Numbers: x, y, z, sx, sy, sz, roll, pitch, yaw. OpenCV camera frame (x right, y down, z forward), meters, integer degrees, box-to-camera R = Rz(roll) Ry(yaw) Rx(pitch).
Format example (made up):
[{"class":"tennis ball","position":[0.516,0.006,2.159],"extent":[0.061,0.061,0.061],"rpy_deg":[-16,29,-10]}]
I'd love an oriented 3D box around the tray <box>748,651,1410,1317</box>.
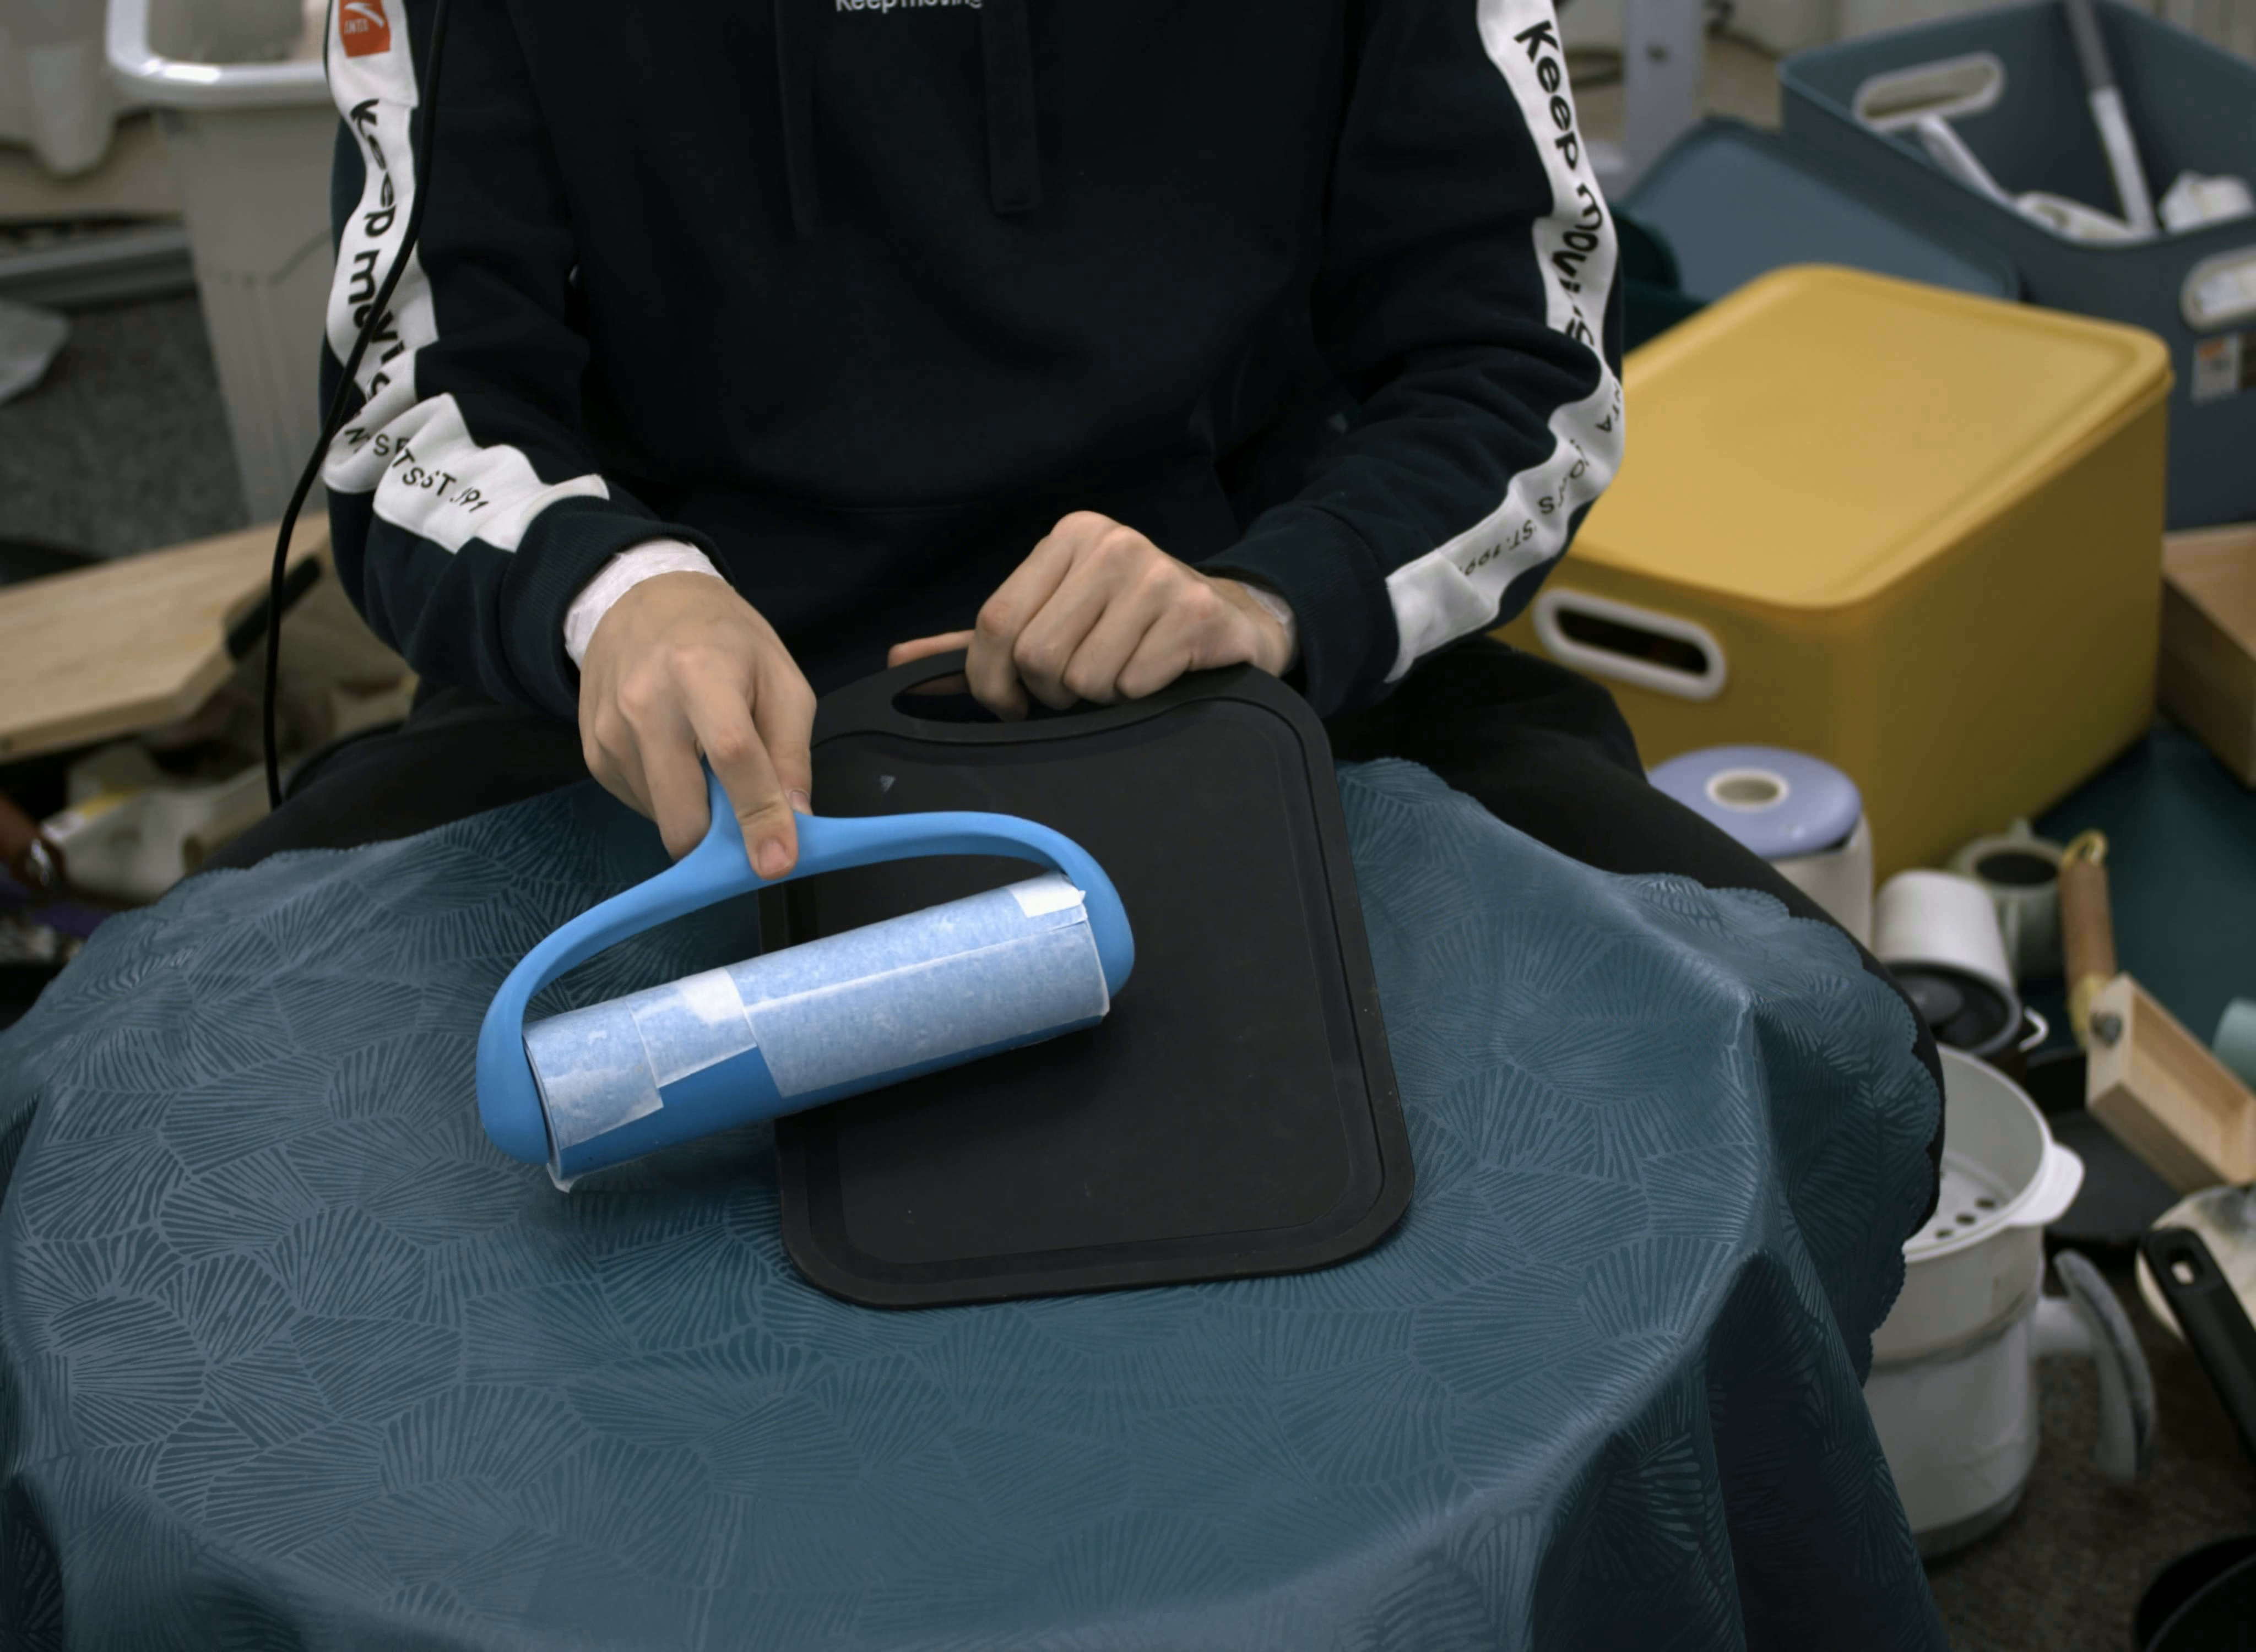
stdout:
[{"class":"tray","position":[-0.023,0.044,1.929],"extent":[0.210,0.009,0.331],"rpy_deg":[-5,41,-3]}]

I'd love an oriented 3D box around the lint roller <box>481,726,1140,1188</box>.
[{"class":"lint roller","position":[-0.127,0.022,1.906],"extent":[0.229,0.067,0.182],"rpy_deg":[-19,56,-14]}]
